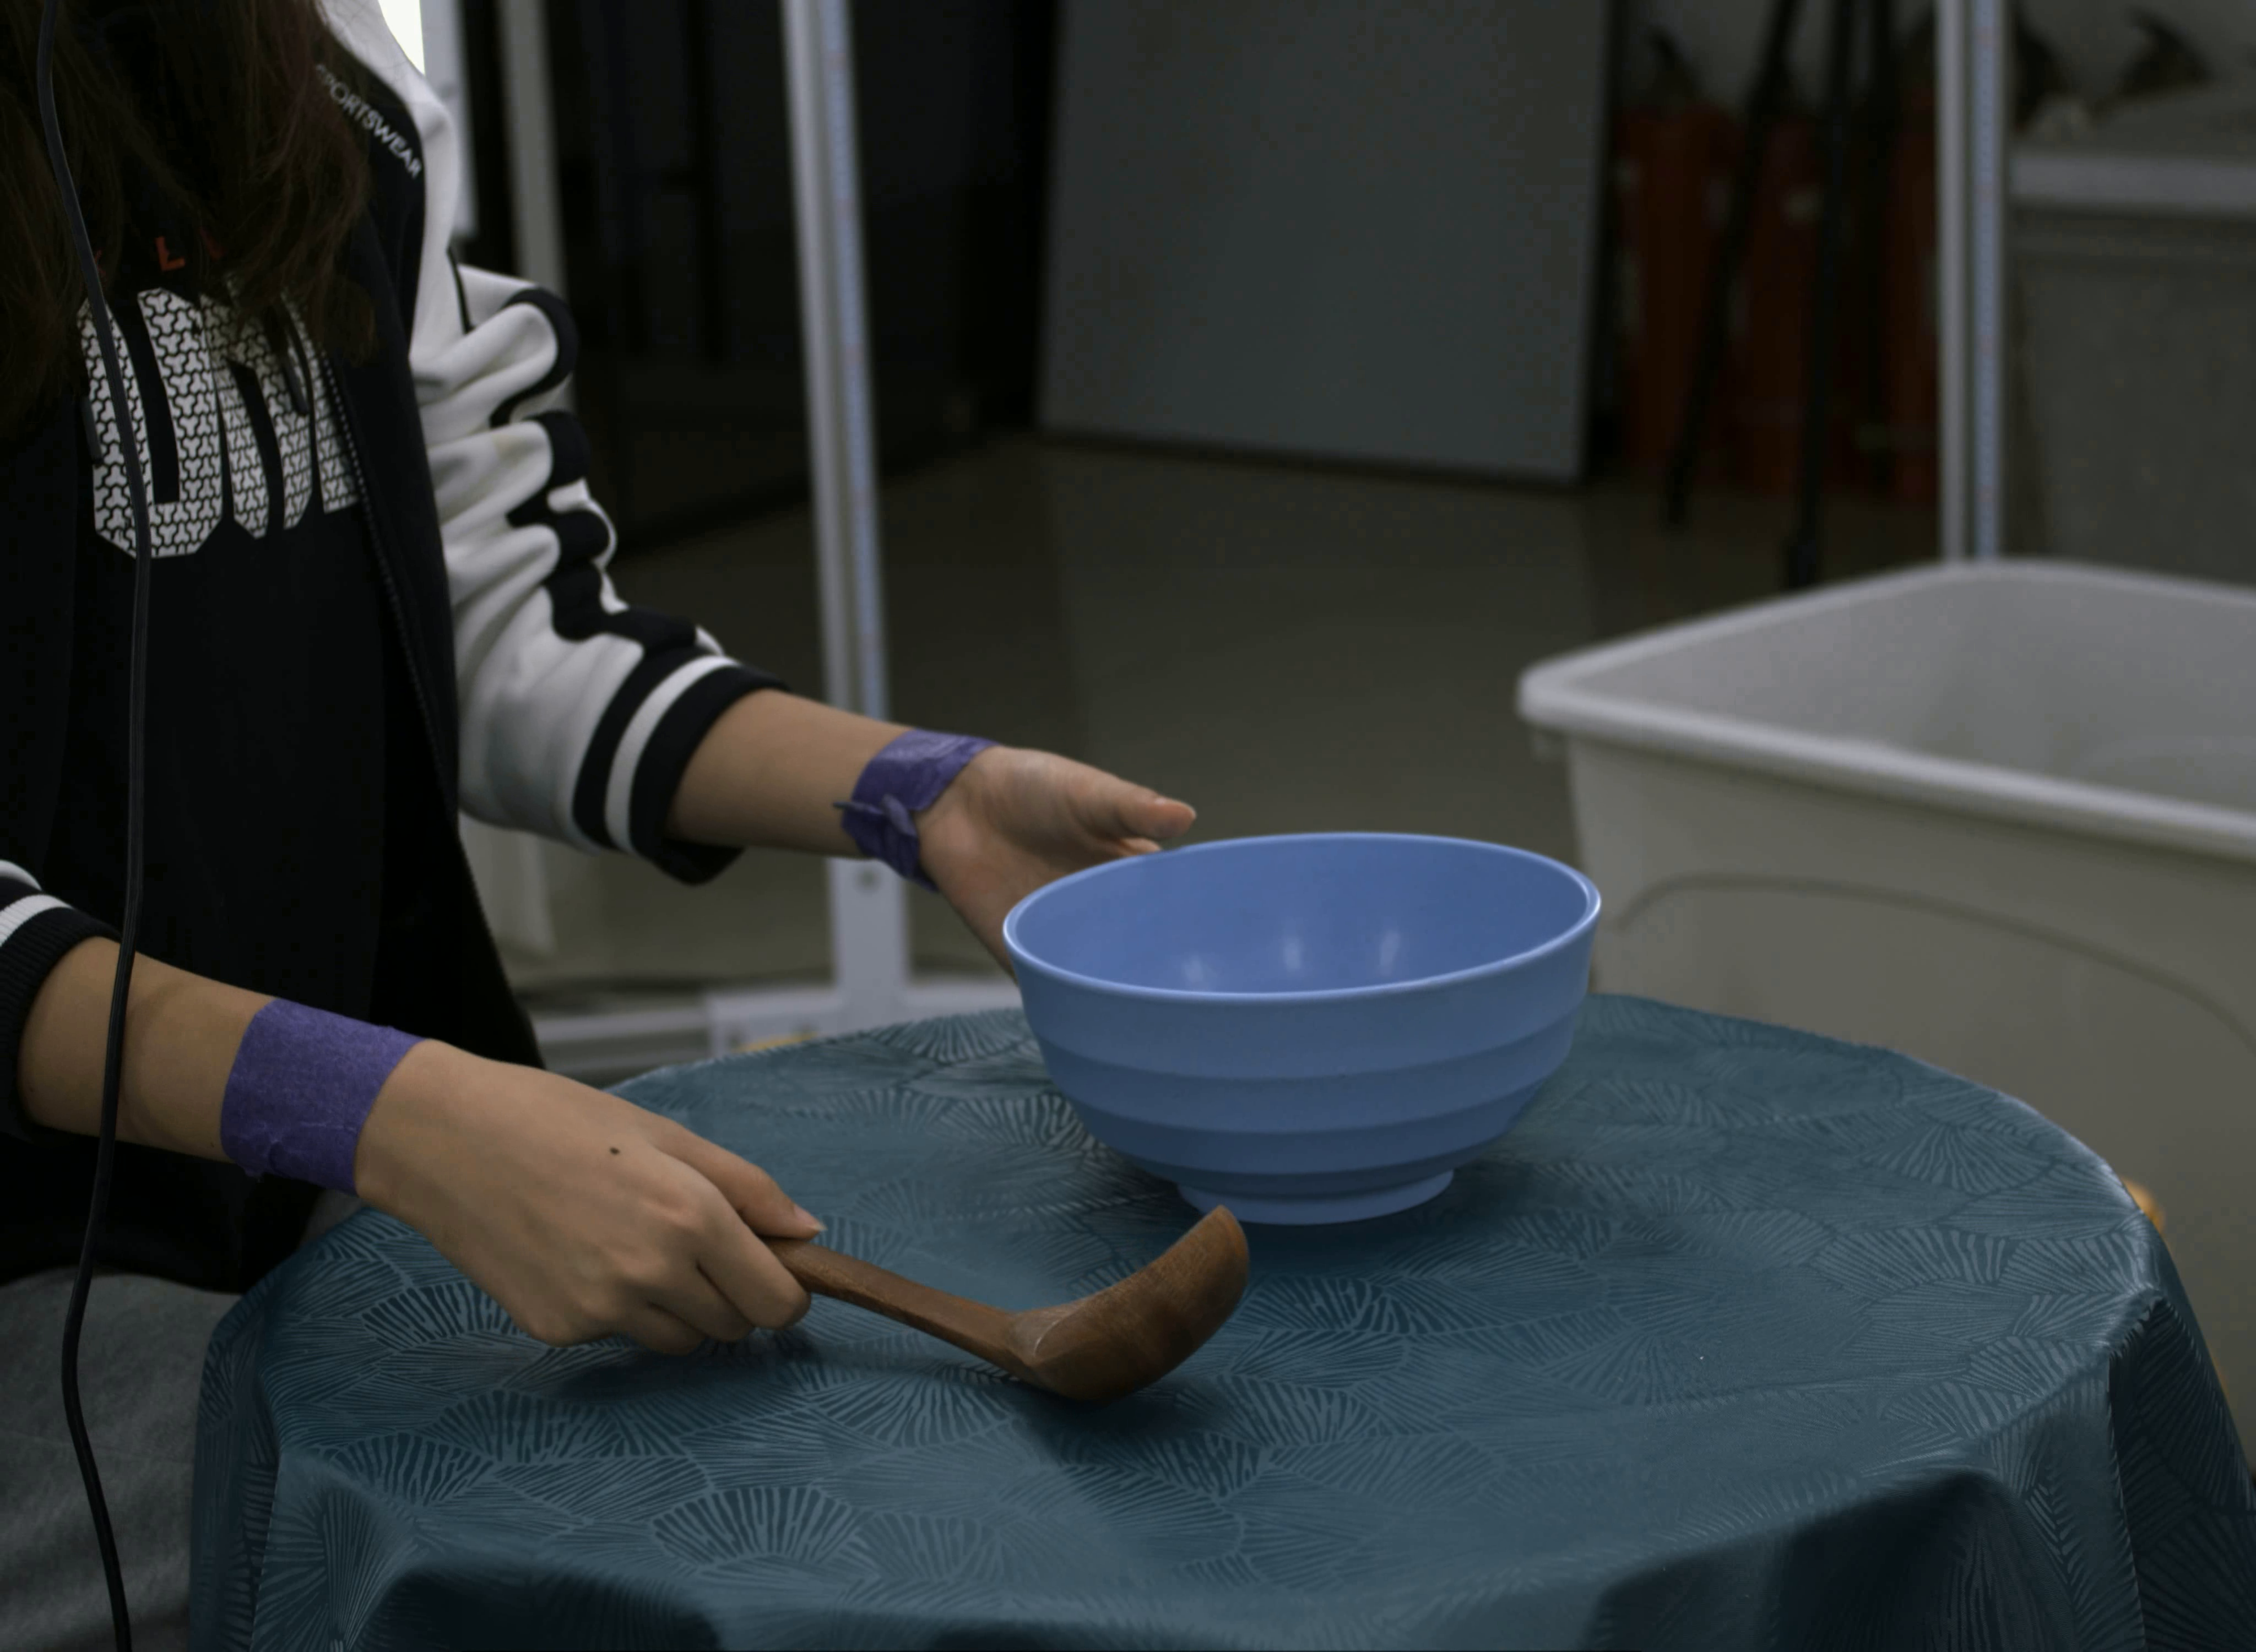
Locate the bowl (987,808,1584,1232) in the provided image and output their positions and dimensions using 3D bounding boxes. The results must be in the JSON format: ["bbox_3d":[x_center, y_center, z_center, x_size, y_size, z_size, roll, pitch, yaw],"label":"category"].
[{"bbox_3d":[0.053,0.071,1.763,0.194,0.096,0.197,-4,20,1],"label":"bowl"}]

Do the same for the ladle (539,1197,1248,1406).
[{"bbox_3d":[-0.077,0.130,1.620,0.262,0.065,0.075,7,24,34],"label":"ladle"}]
